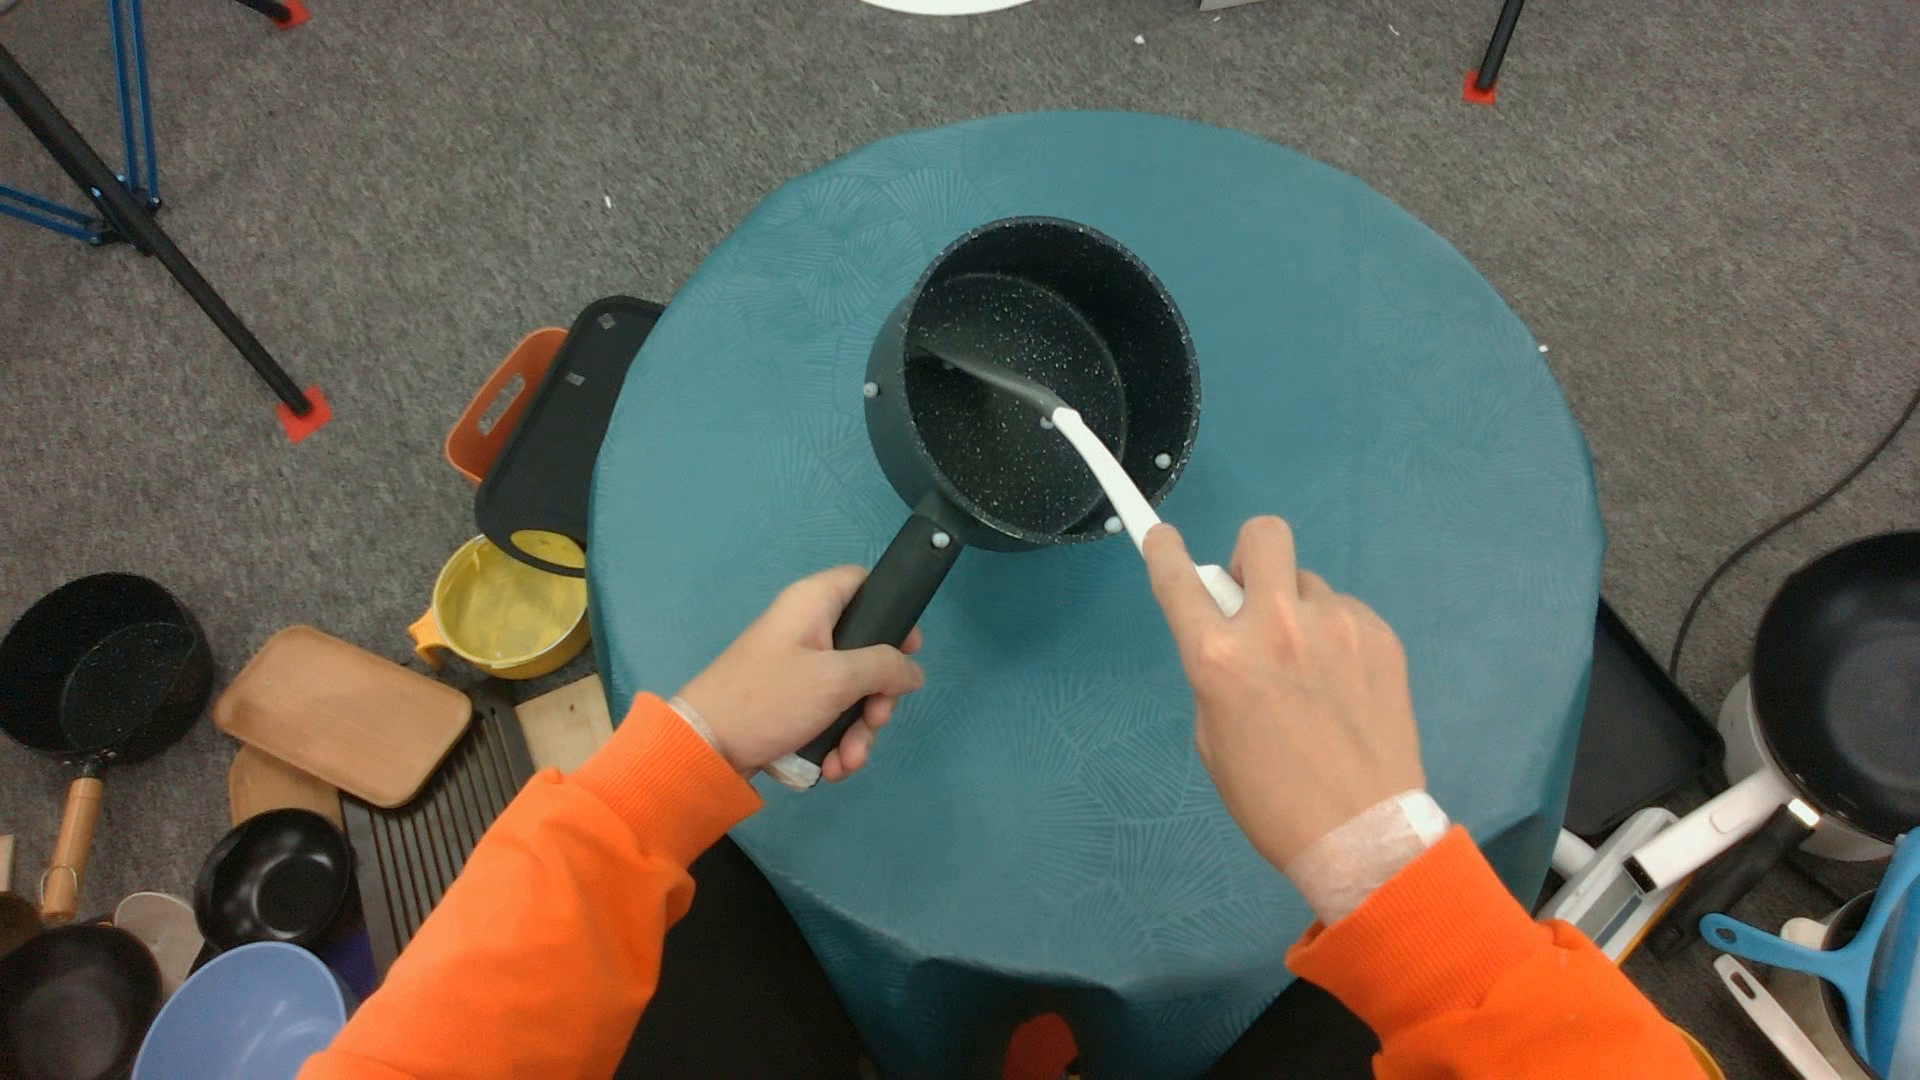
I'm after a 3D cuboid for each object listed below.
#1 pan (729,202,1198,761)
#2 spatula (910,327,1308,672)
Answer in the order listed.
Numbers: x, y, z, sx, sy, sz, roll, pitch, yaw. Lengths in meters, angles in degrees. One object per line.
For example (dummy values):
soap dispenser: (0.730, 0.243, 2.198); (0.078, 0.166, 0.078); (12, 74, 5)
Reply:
pan: (-0.010, -0.025, 0.703); (0.172, 0.086, 0.330); (41, 68, -10)
spatula: (0.060, -0.038, 0.657); (0.059, 0.032, 0.288); (4, 31, -39)
